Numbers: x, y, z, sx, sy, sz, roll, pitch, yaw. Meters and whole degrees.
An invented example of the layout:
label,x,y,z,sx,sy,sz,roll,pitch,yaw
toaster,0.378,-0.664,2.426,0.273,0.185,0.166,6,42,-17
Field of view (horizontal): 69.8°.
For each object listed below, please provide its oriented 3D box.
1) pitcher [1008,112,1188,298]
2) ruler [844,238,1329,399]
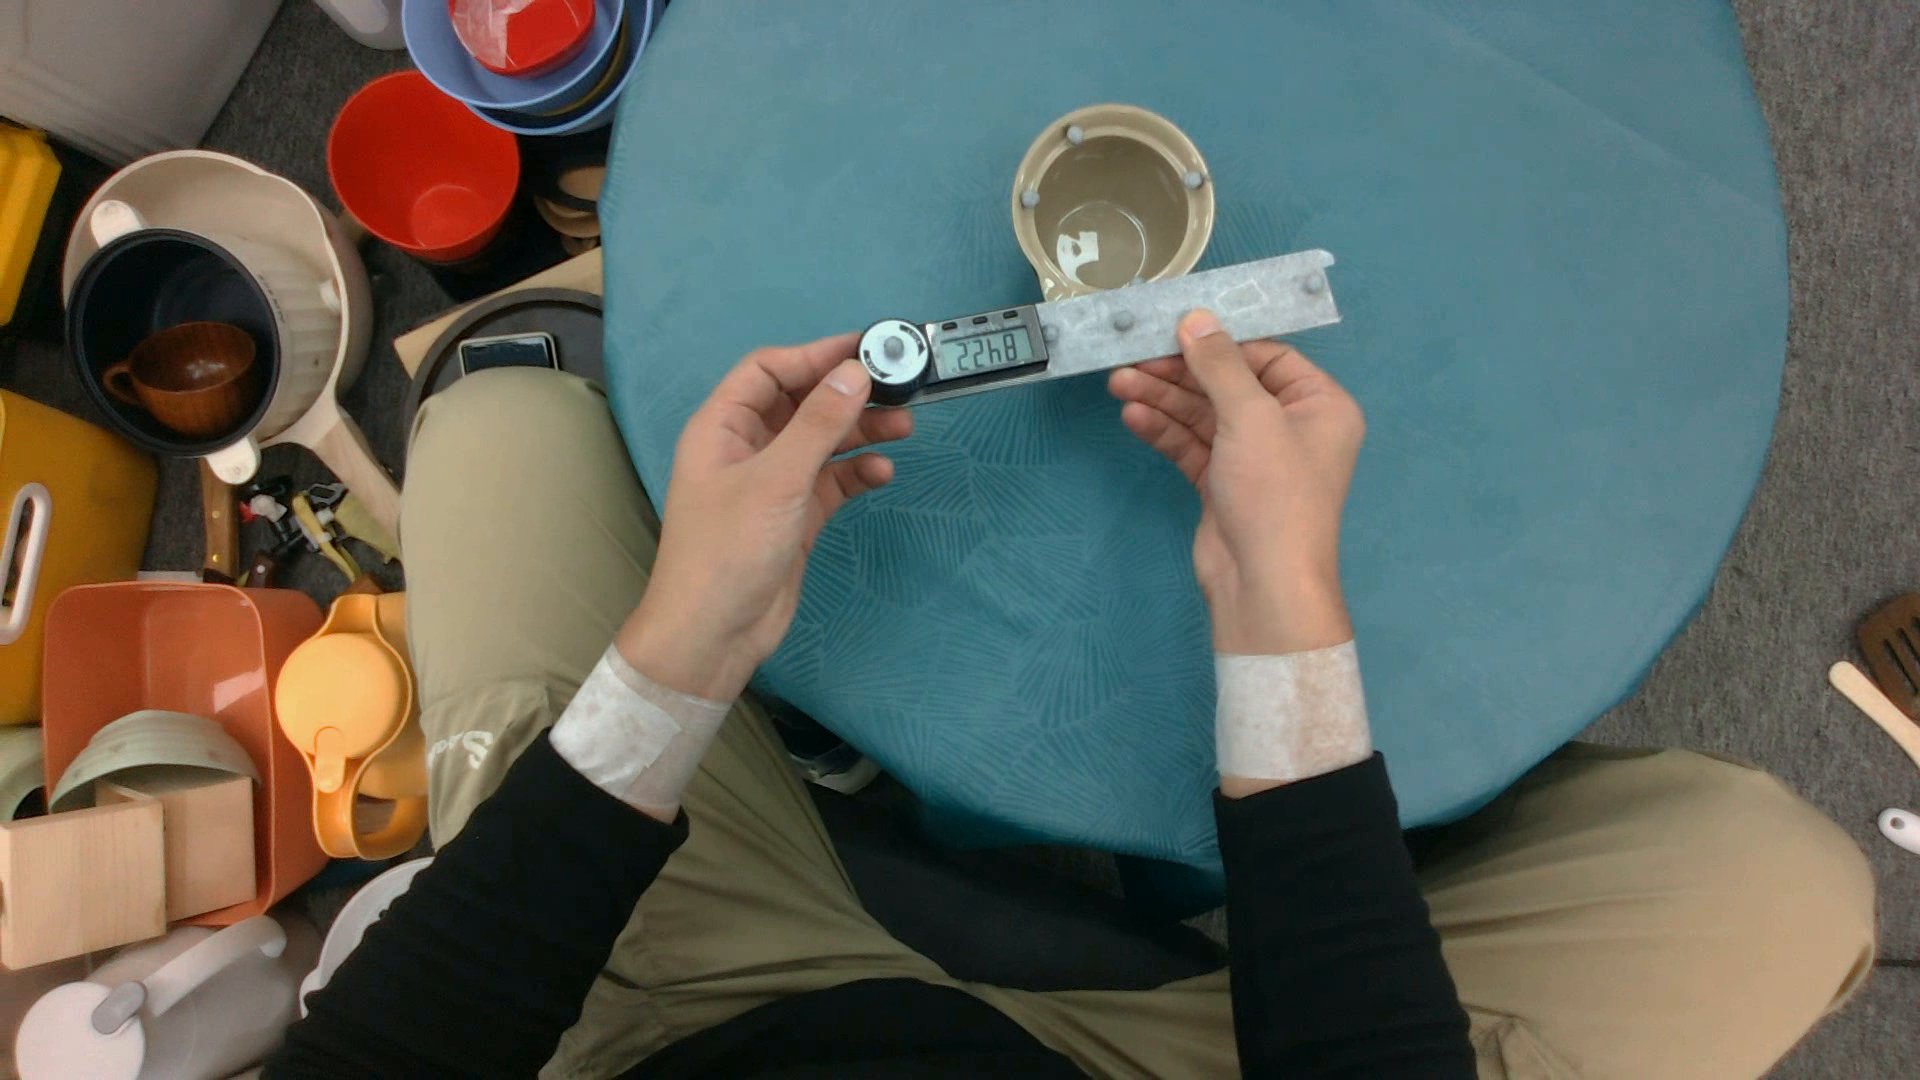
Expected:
label,x,y,z,sx,sy,sz,roll,pitch,yaw
pitcher,0.061,-0.148,0.661,0.083,0.071,0.096,30,84,2
ruler,0.057,-0.098,0.599,0.218,0.024,0.038,-12,84,-7
